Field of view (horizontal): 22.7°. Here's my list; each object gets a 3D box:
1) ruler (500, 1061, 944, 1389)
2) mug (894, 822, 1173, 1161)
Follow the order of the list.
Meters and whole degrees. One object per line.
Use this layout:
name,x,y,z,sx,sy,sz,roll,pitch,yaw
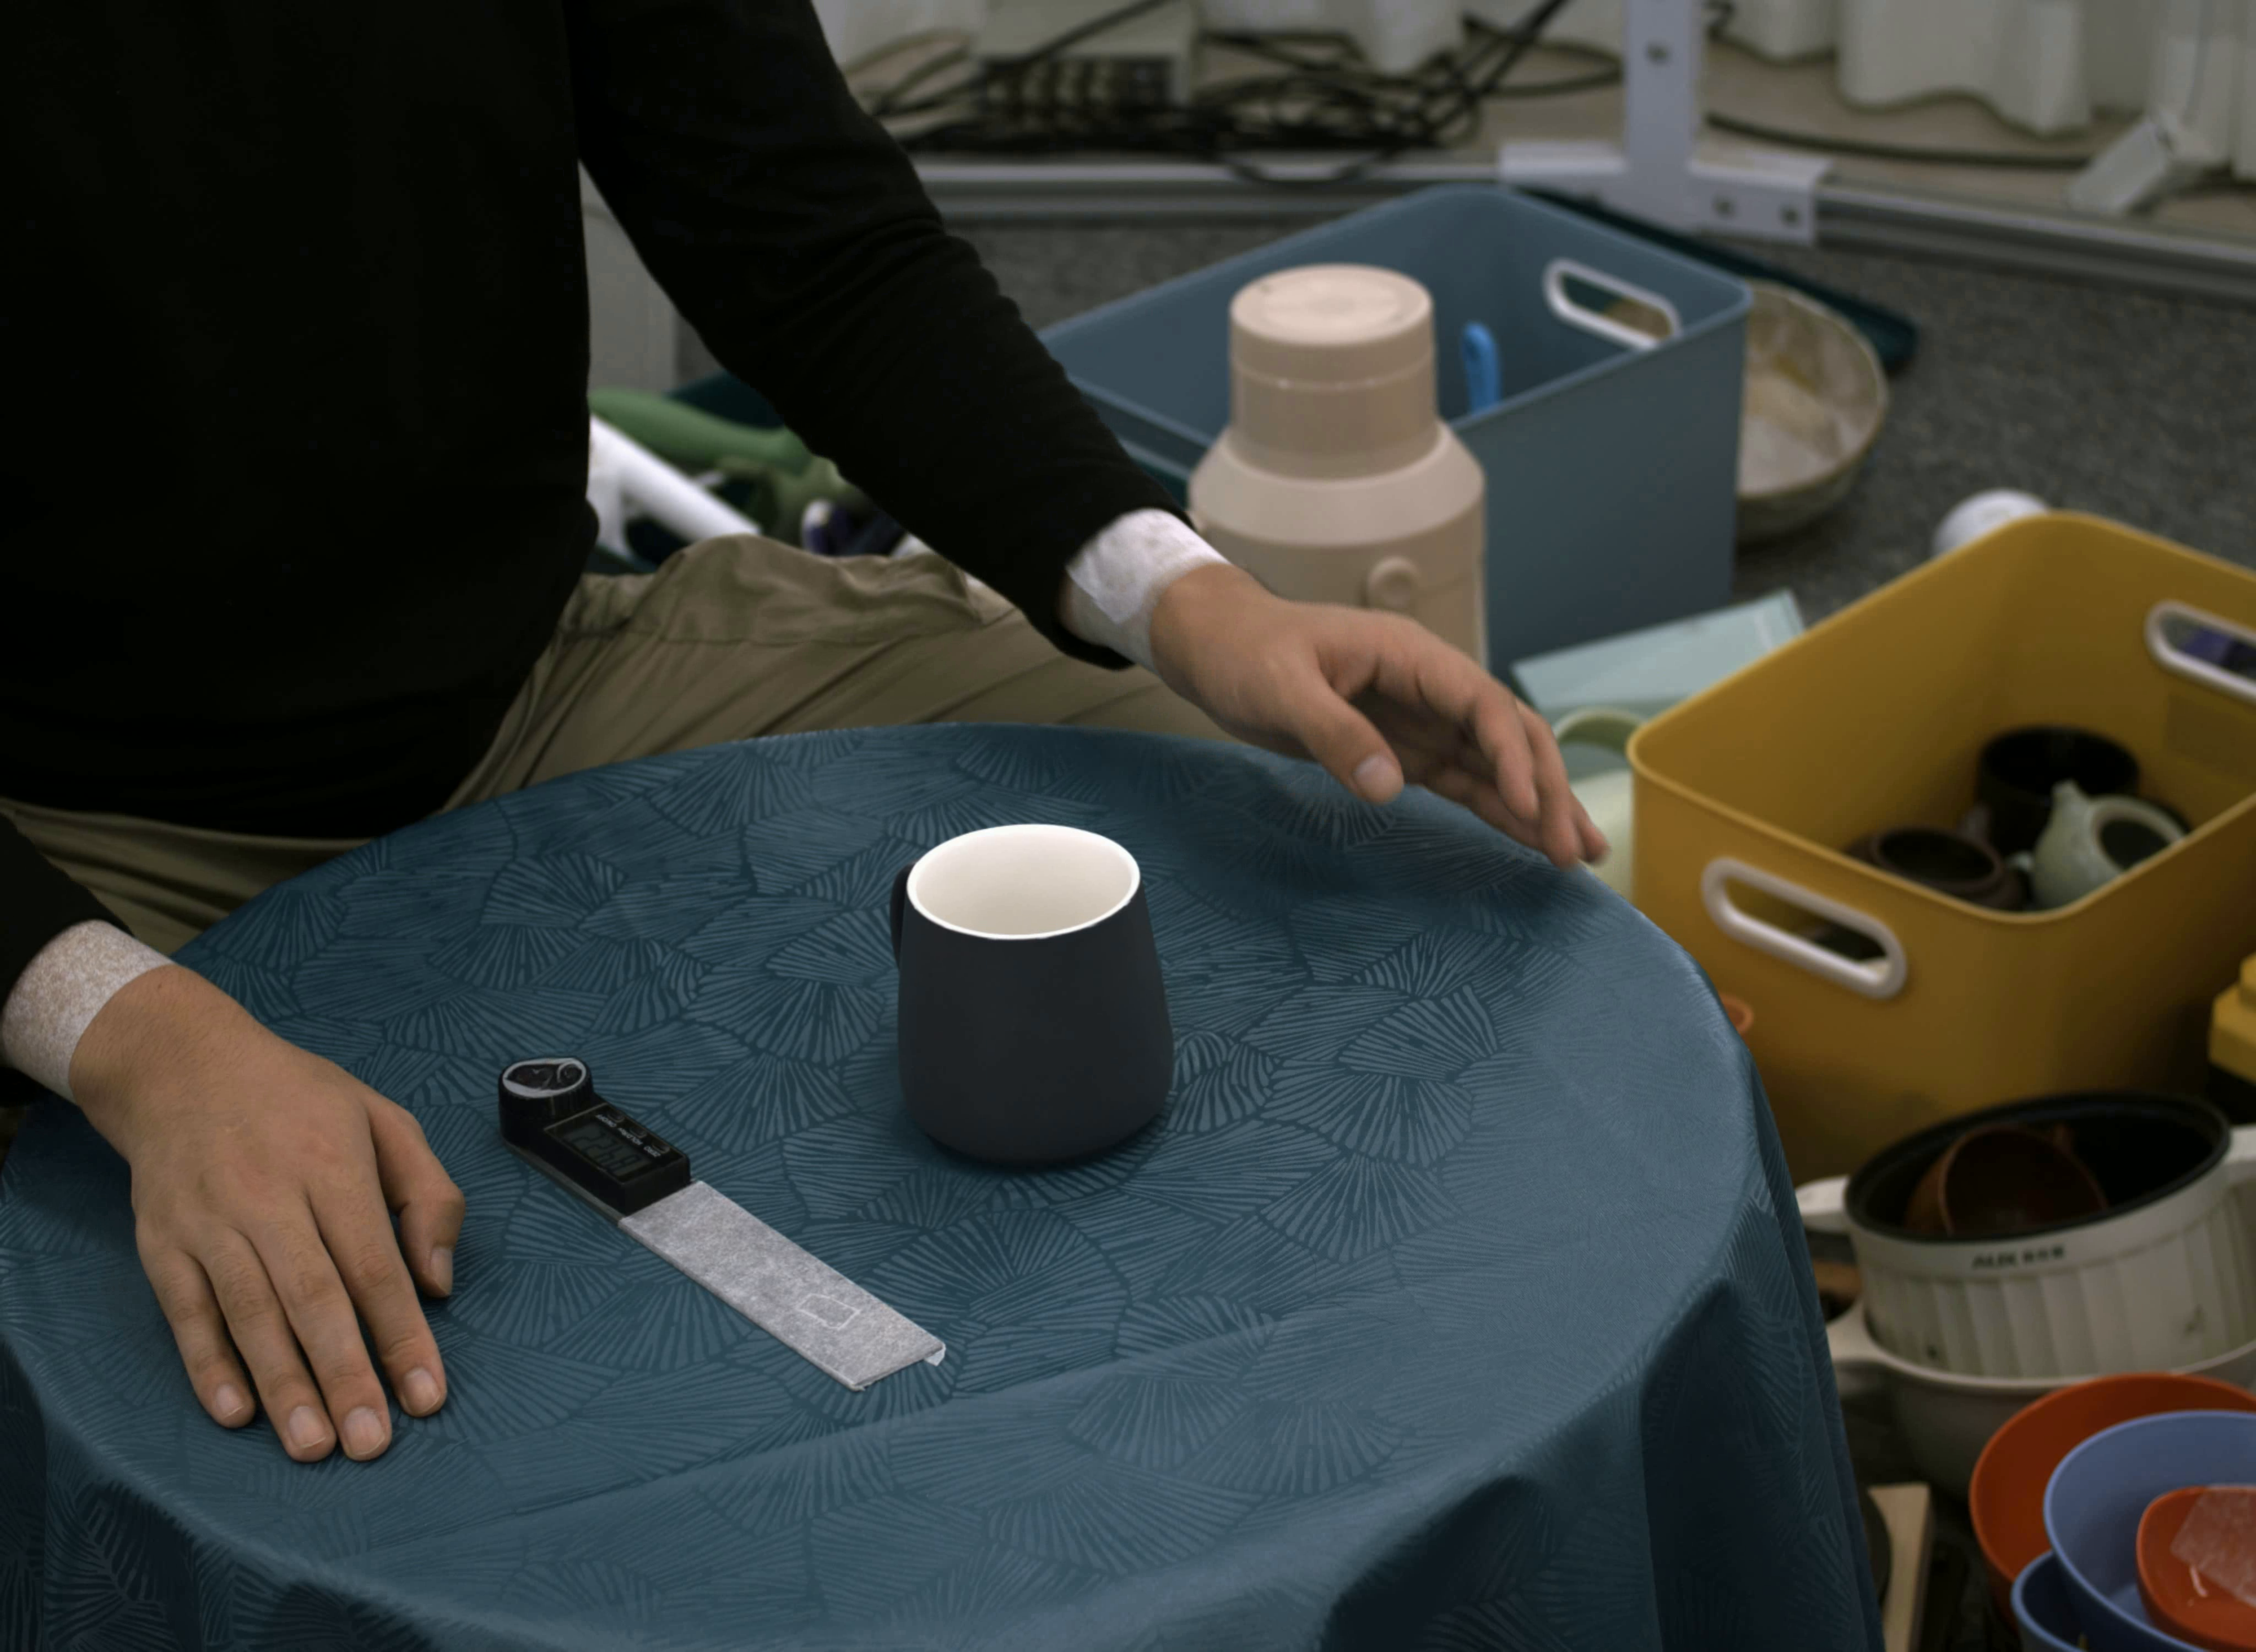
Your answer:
ruler,-0.140,0.127,1.840,0.039,0.024,0.218,-28,35,-29
mug,-0.041,0.051,1.902,0.094,0.089,0.123,-19,32,-30
